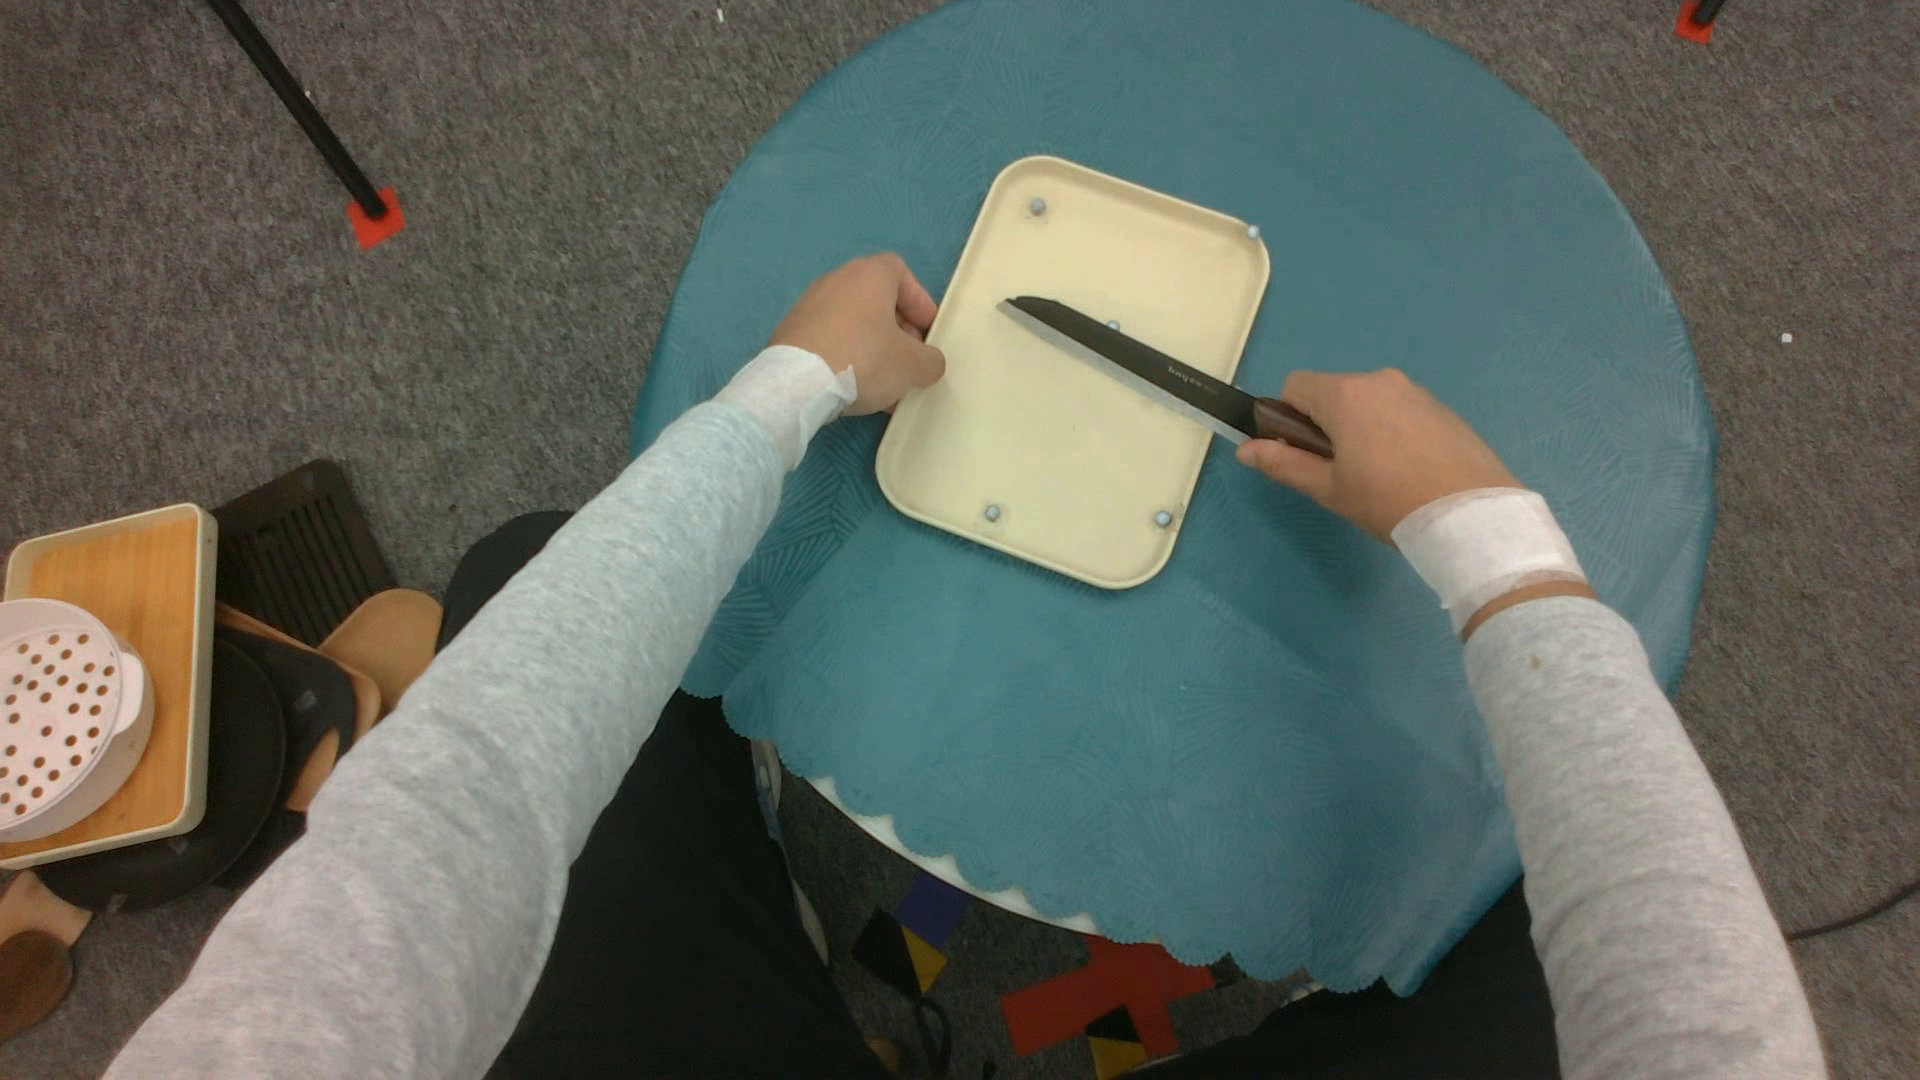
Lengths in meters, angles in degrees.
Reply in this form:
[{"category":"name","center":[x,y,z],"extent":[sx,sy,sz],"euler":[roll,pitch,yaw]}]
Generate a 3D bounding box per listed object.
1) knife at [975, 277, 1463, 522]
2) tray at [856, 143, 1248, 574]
[{"category":"knife","center":[0.129,-0.080,0.738],"extent":[0.289,0.050,0.020],"euler":[28,62,19]},{"category":"tray","center":[0.055,-0.106,0.778],"extent":[0.171,0.017,0.240],"euler":[20,73,5]}]
